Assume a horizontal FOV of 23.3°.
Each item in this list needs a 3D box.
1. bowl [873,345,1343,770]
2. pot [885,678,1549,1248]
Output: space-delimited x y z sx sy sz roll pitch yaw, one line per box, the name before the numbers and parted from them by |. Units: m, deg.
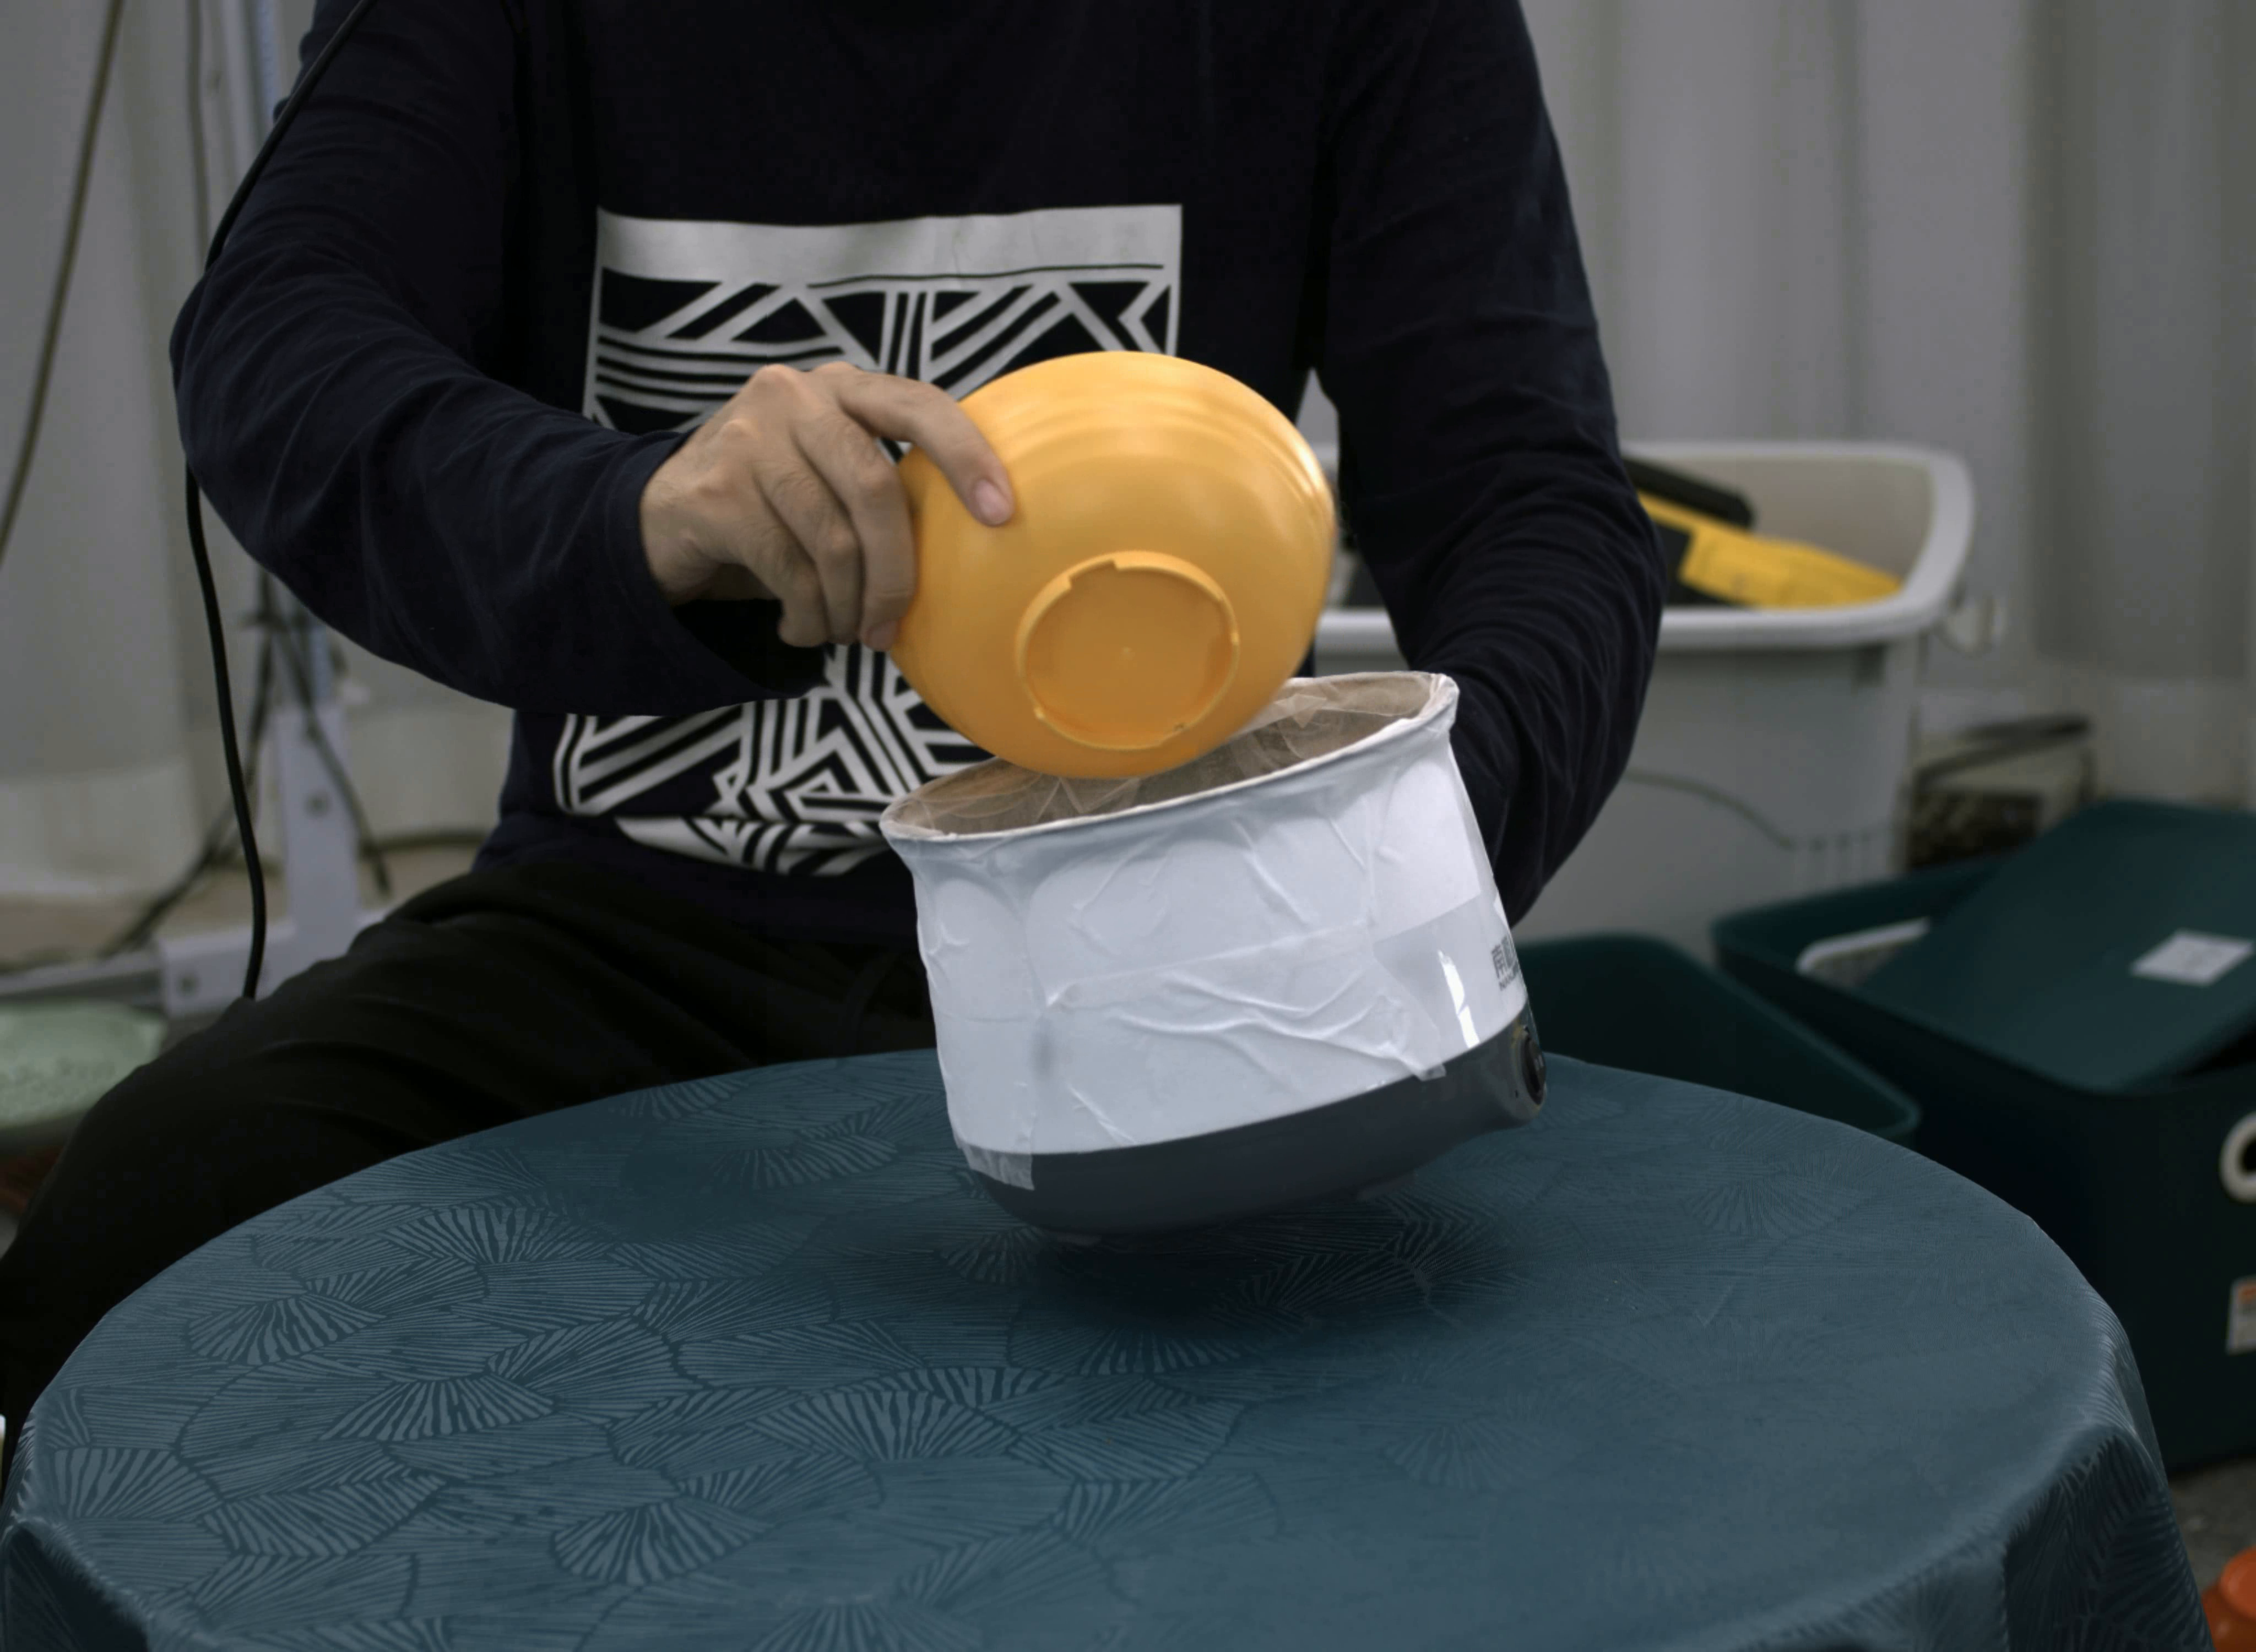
bowl | -0.004 -0.067 1.643 0.145 0.143 0.061 -3 36 -2
pot | 0.034 0.035 1.660 0.178 0.136 0.234 -11 8 16
